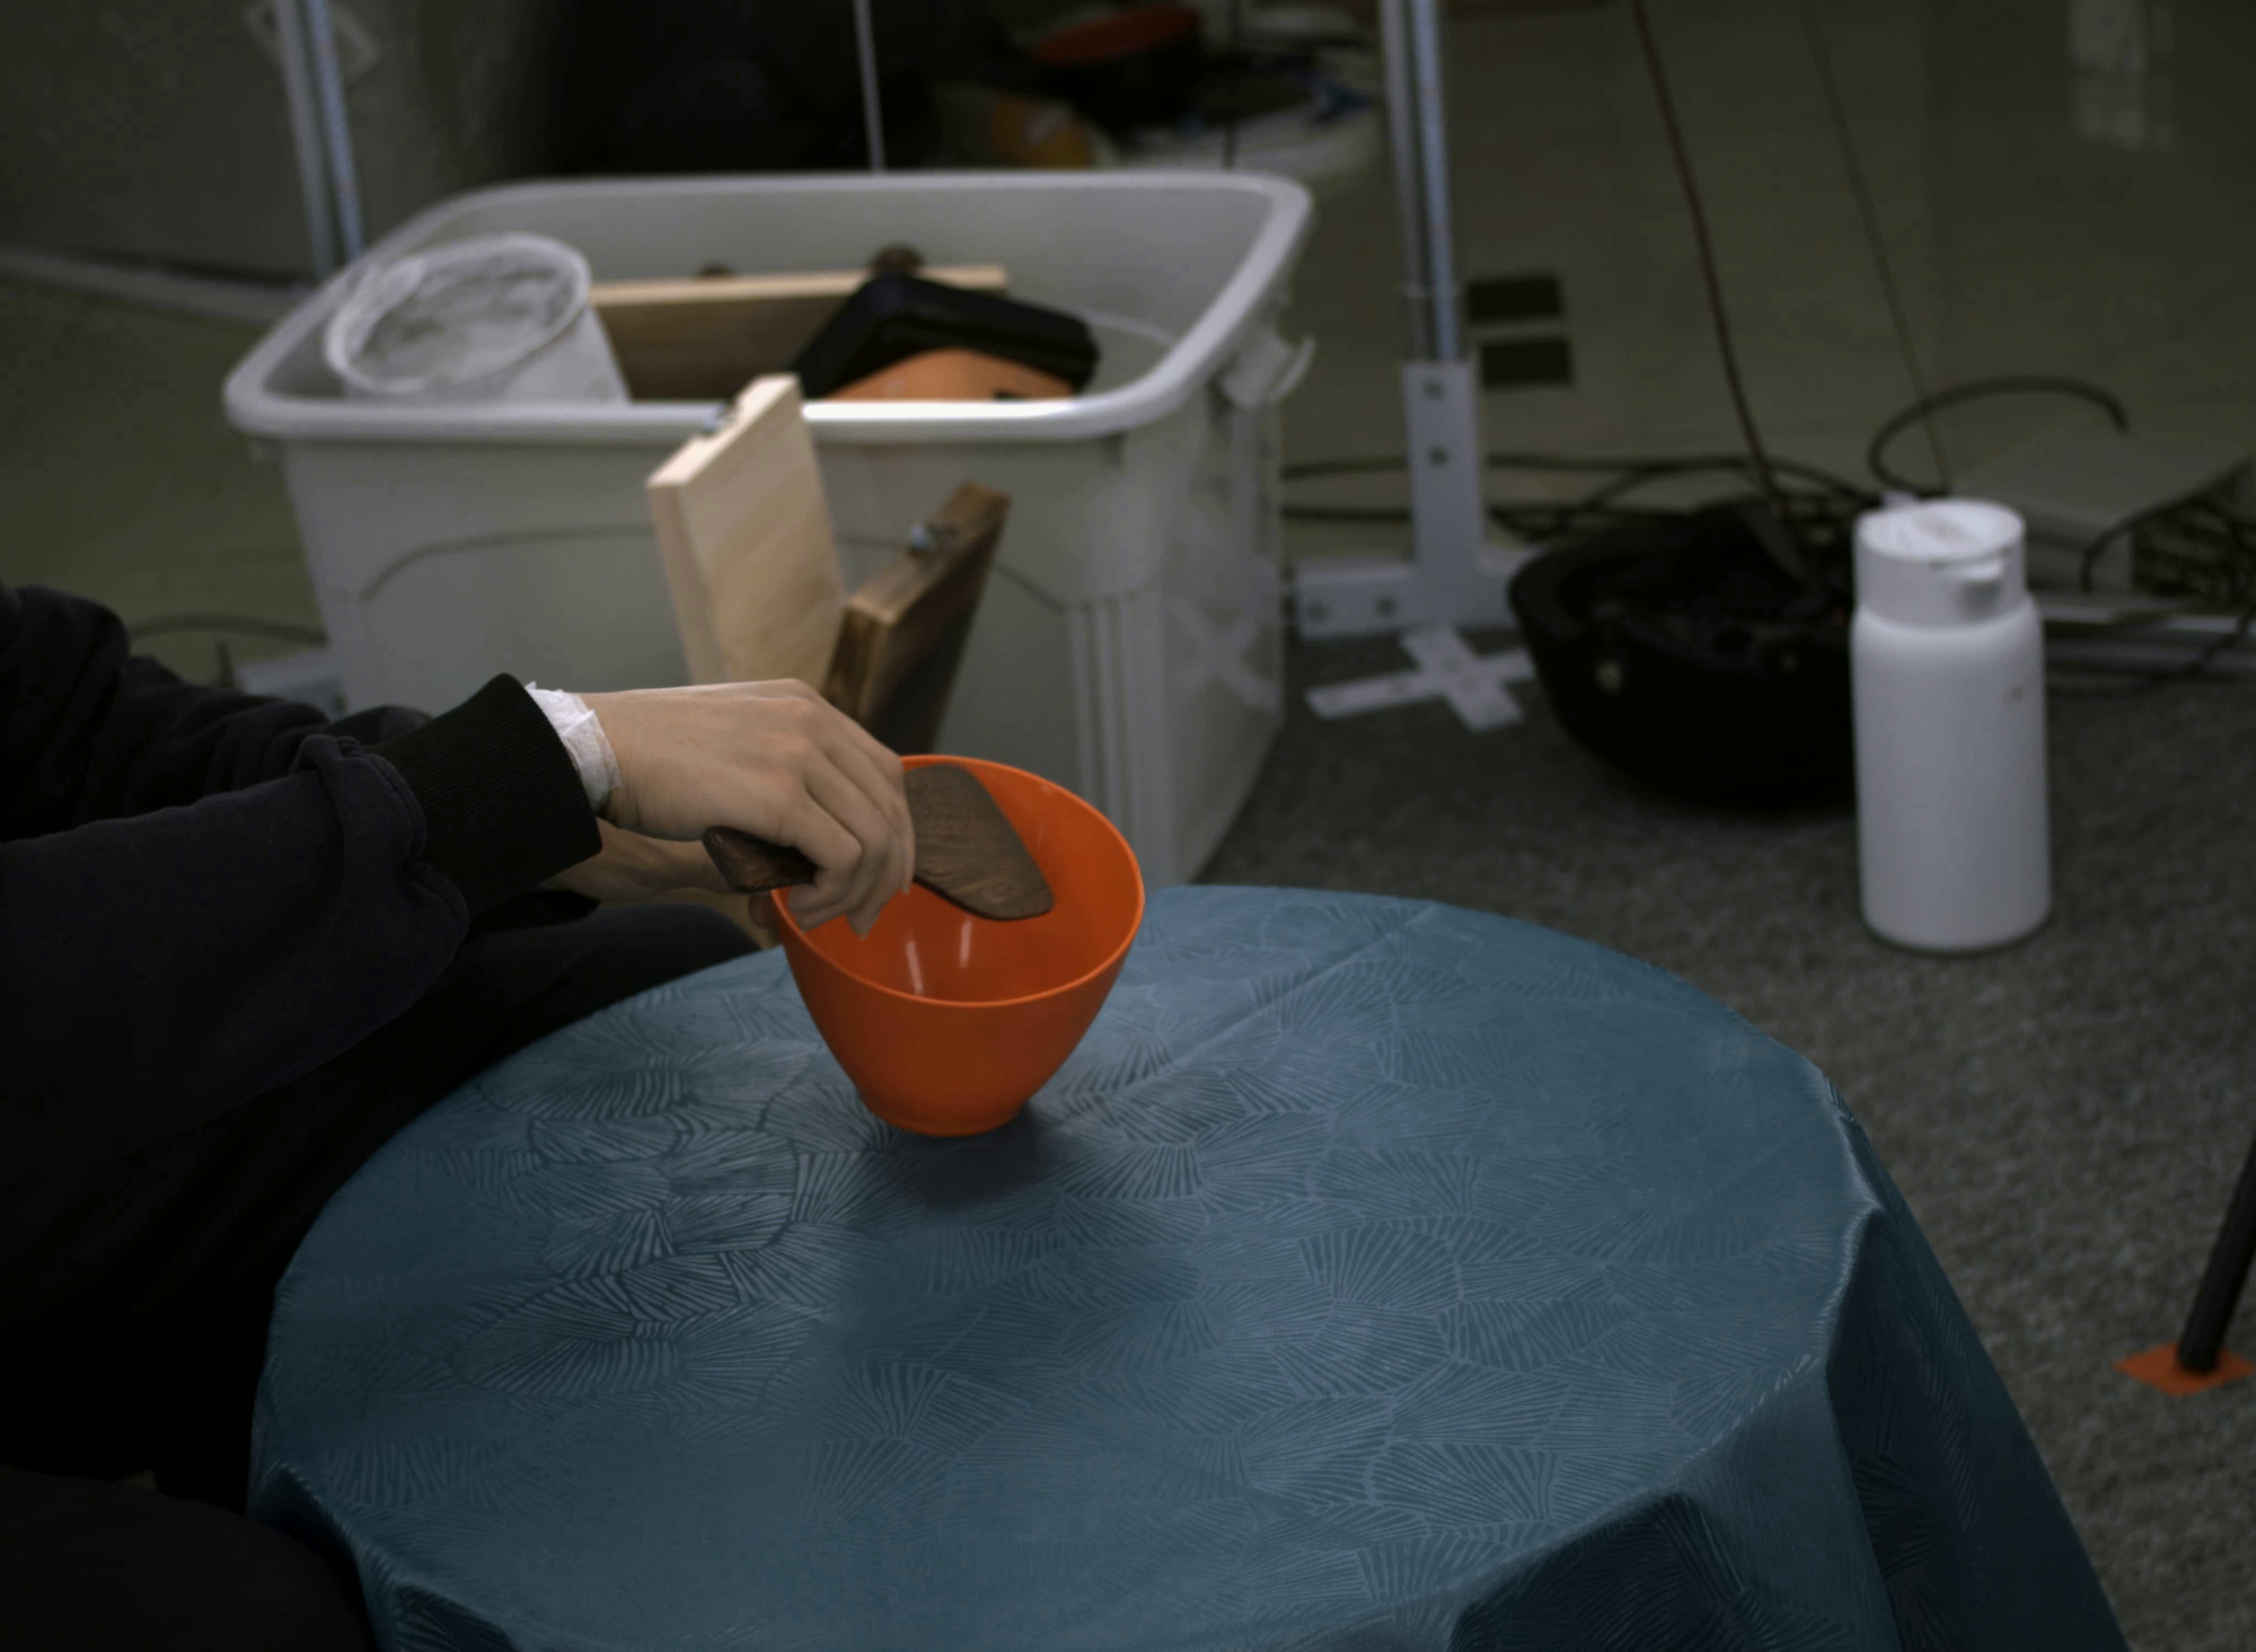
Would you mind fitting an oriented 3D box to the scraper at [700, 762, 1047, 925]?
[{"bbox_3d":[-0.099,0.009,2.126,0.011,0.075,0.211,-38,-16,24],"label":"scraper"}]

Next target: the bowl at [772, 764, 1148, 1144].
[{"bbox_3d":[-0.069,0.057,2.210,0.148,0.106,0.145,5,30,-3],"label":"bowl"}]
